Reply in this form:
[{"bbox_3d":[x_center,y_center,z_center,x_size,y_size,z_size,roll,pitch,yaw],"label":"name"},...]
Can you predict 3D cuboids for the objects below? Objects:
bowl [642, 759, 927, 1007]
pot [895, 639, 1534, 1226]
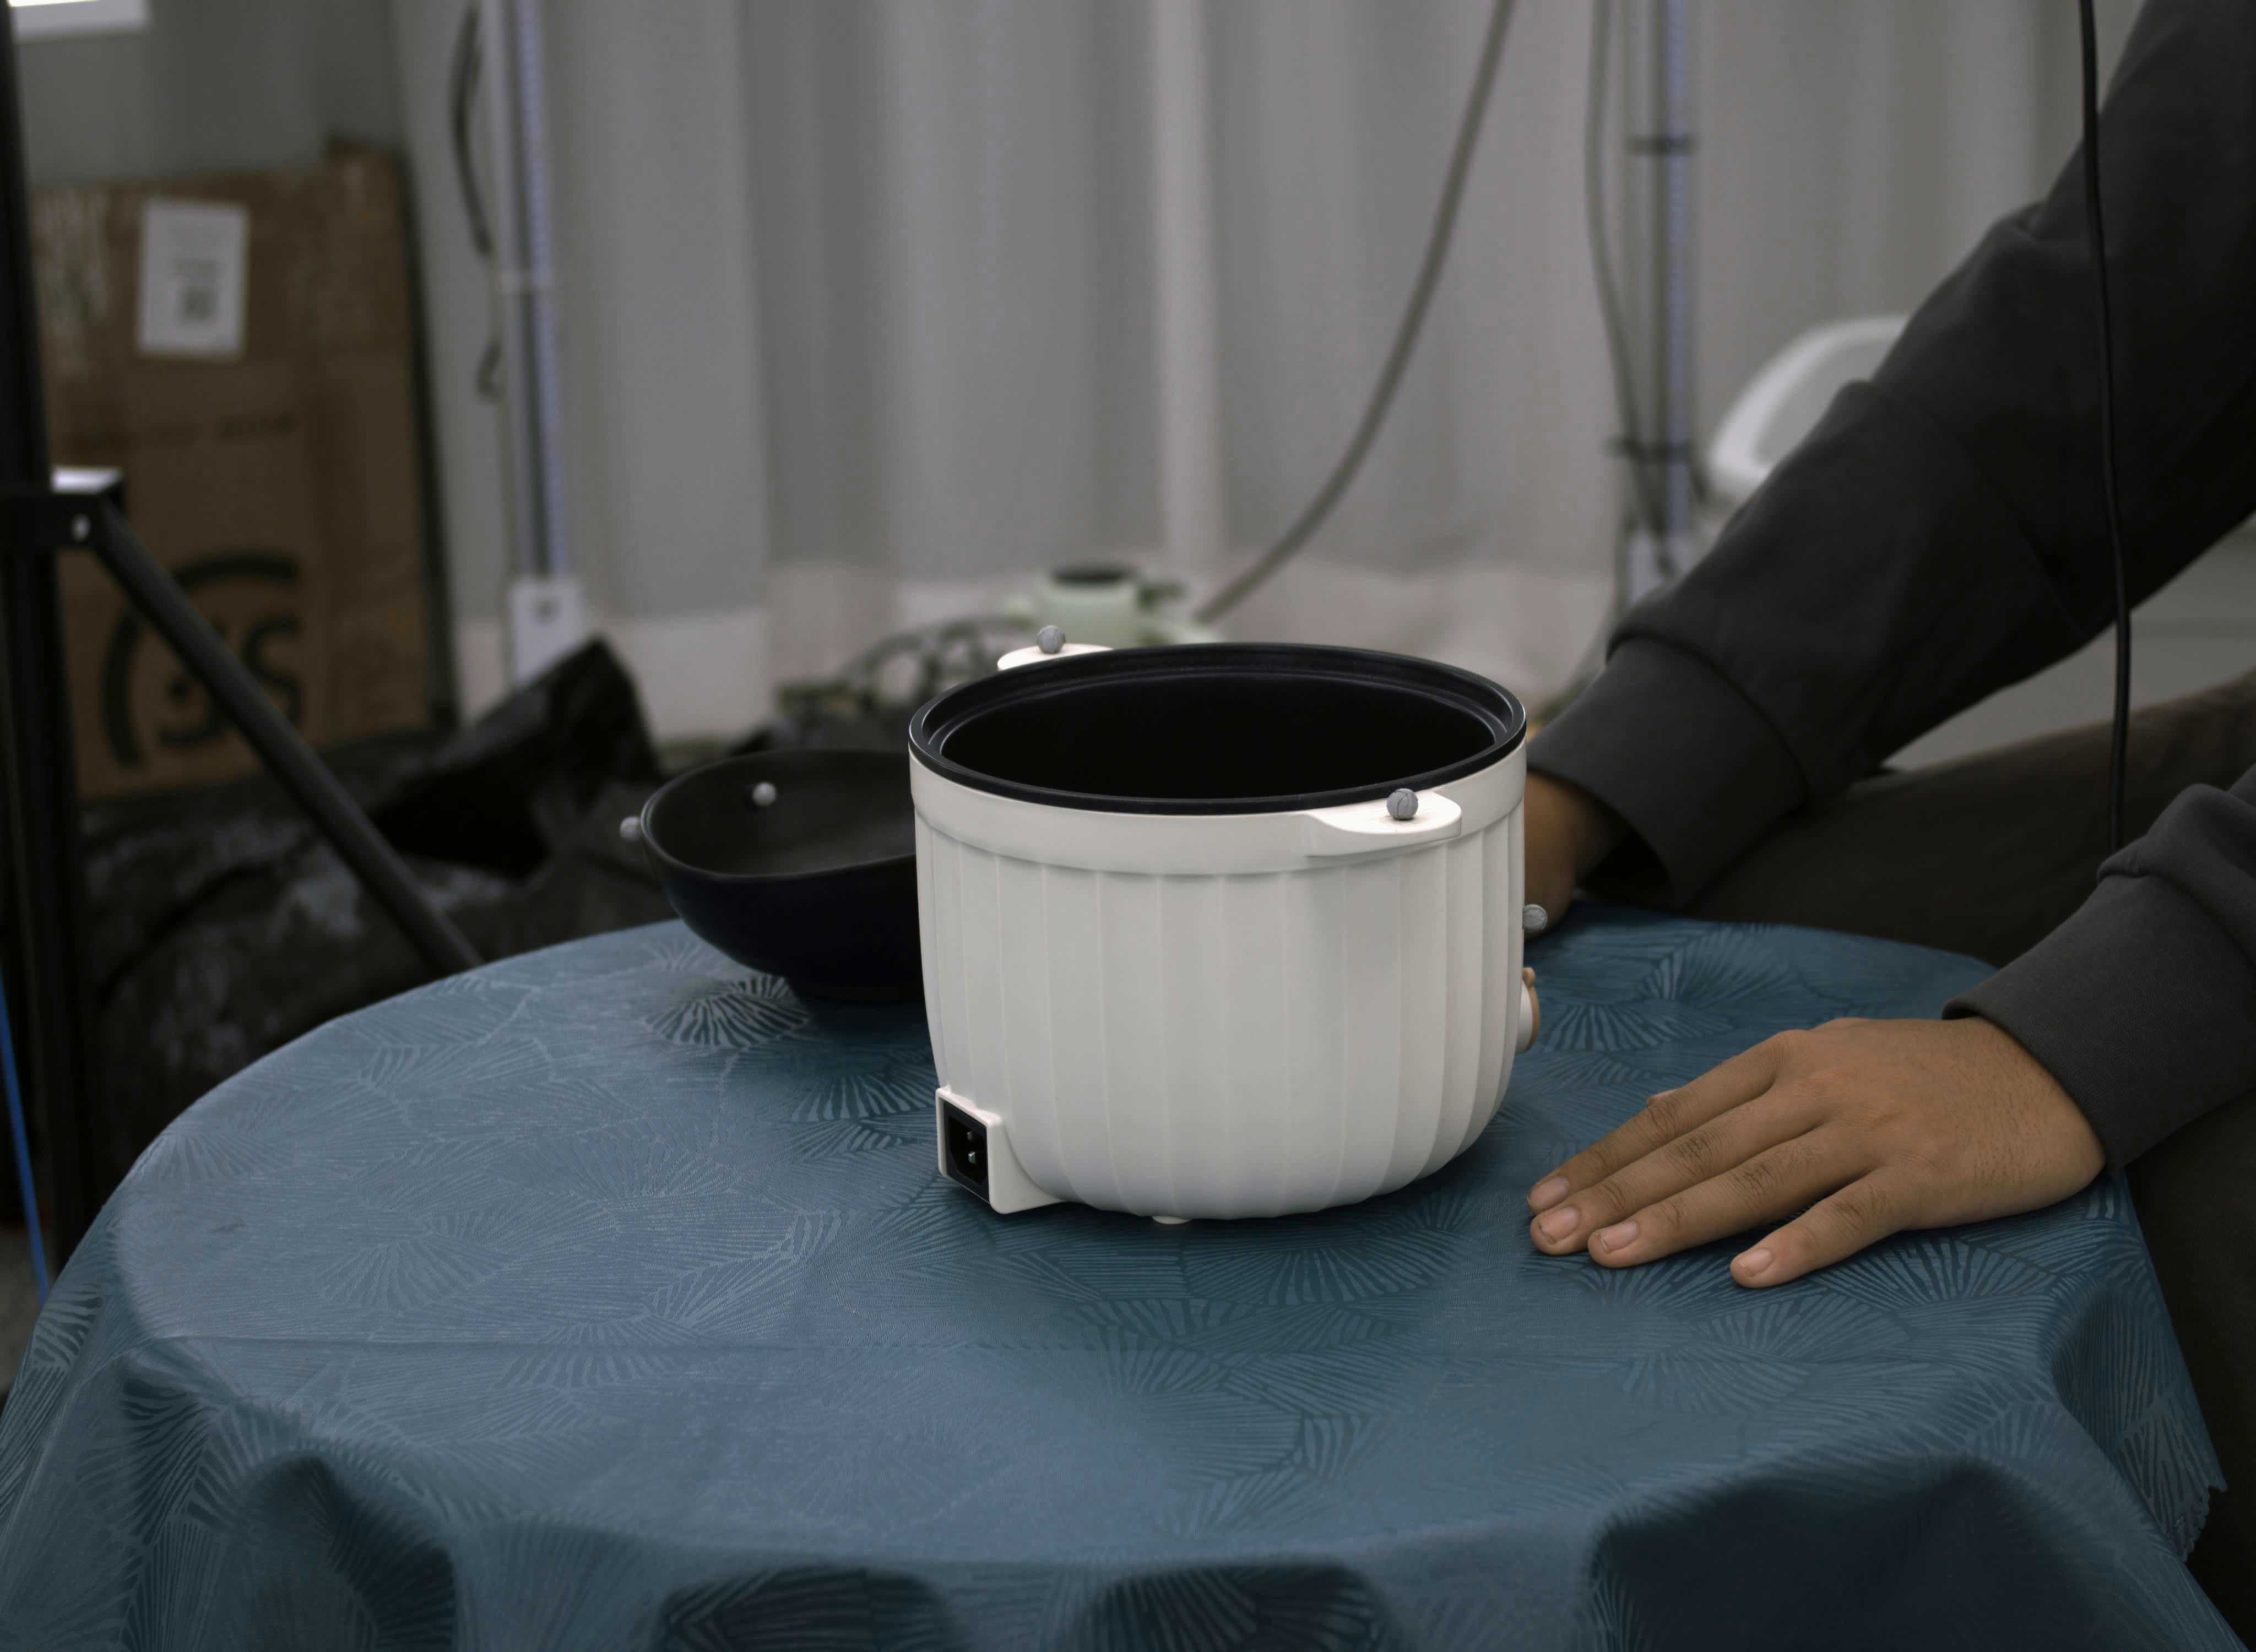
[{"bbox_3d":[-0.082,0.020,1.762,0.140,0.067,0.166,11,19,39],"label":"bowl"},{"bbox_3d":[0.031,0.031,1.571,0.187,0.142,0.245,-13,20,-25],"label":"pot"}]
